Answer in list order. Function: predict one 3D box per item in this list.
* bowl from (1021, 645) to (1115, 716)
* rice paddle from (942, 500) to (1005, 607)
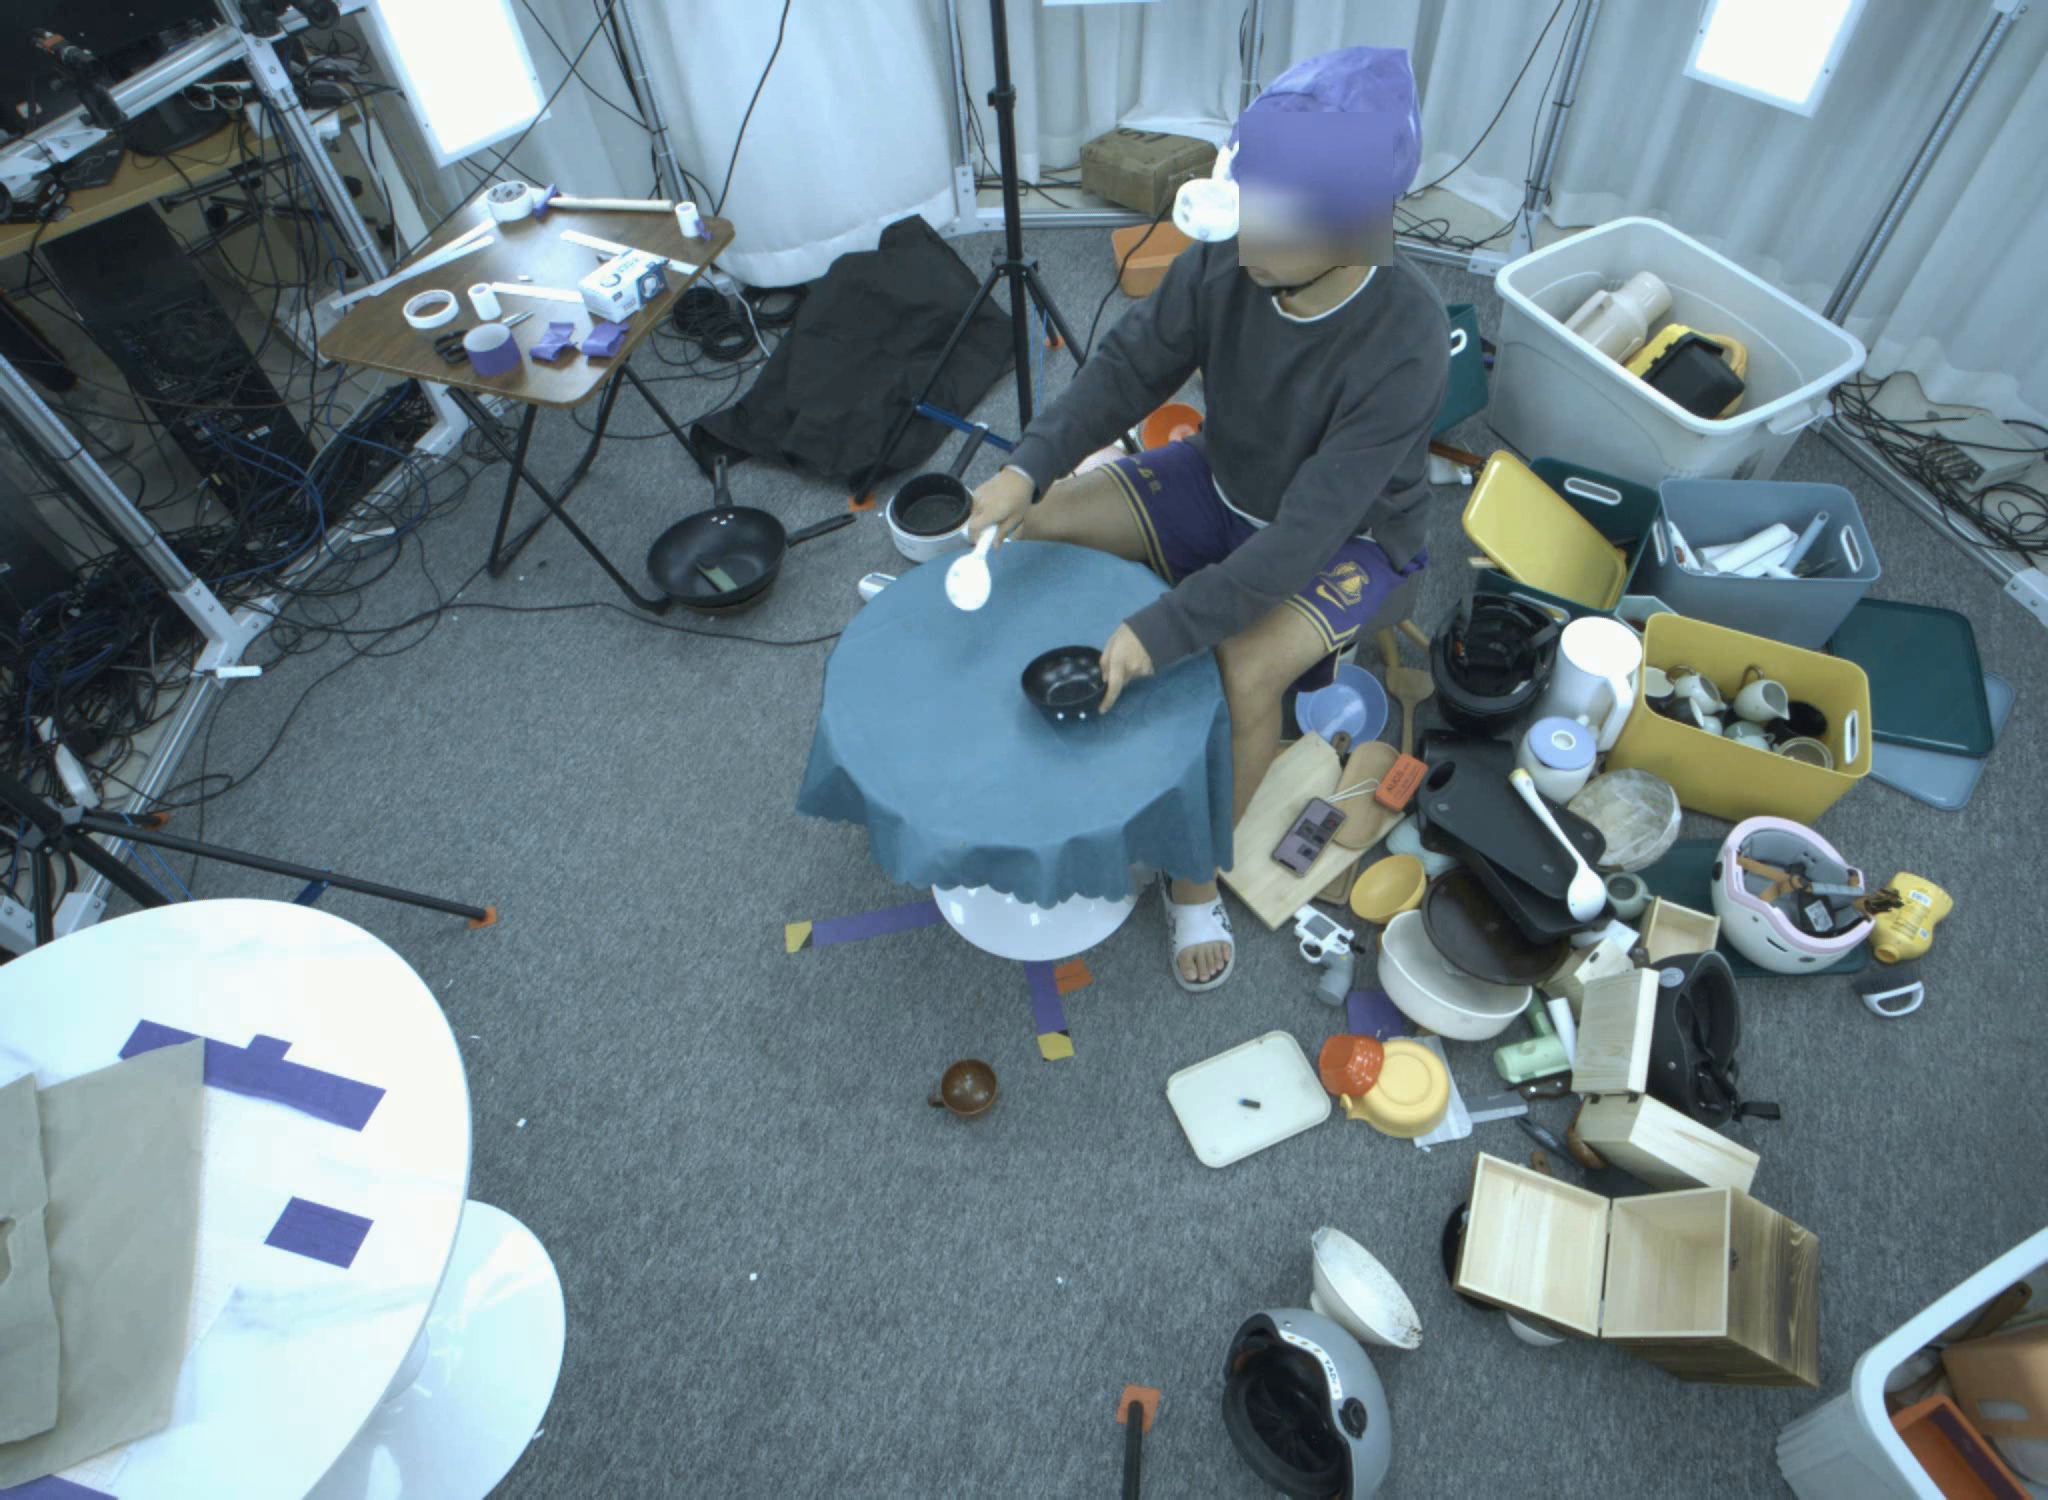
[{"bbox_3d":[0.068,-0.093,1.815,0.139,0.050,0.138,-6,42,7],"label":"bowl"},{"bbox_3d":[-0.074,-0.302,1.884,0.070,0.029,0.204,32,59,-20],"label":"rice paddle"}]
